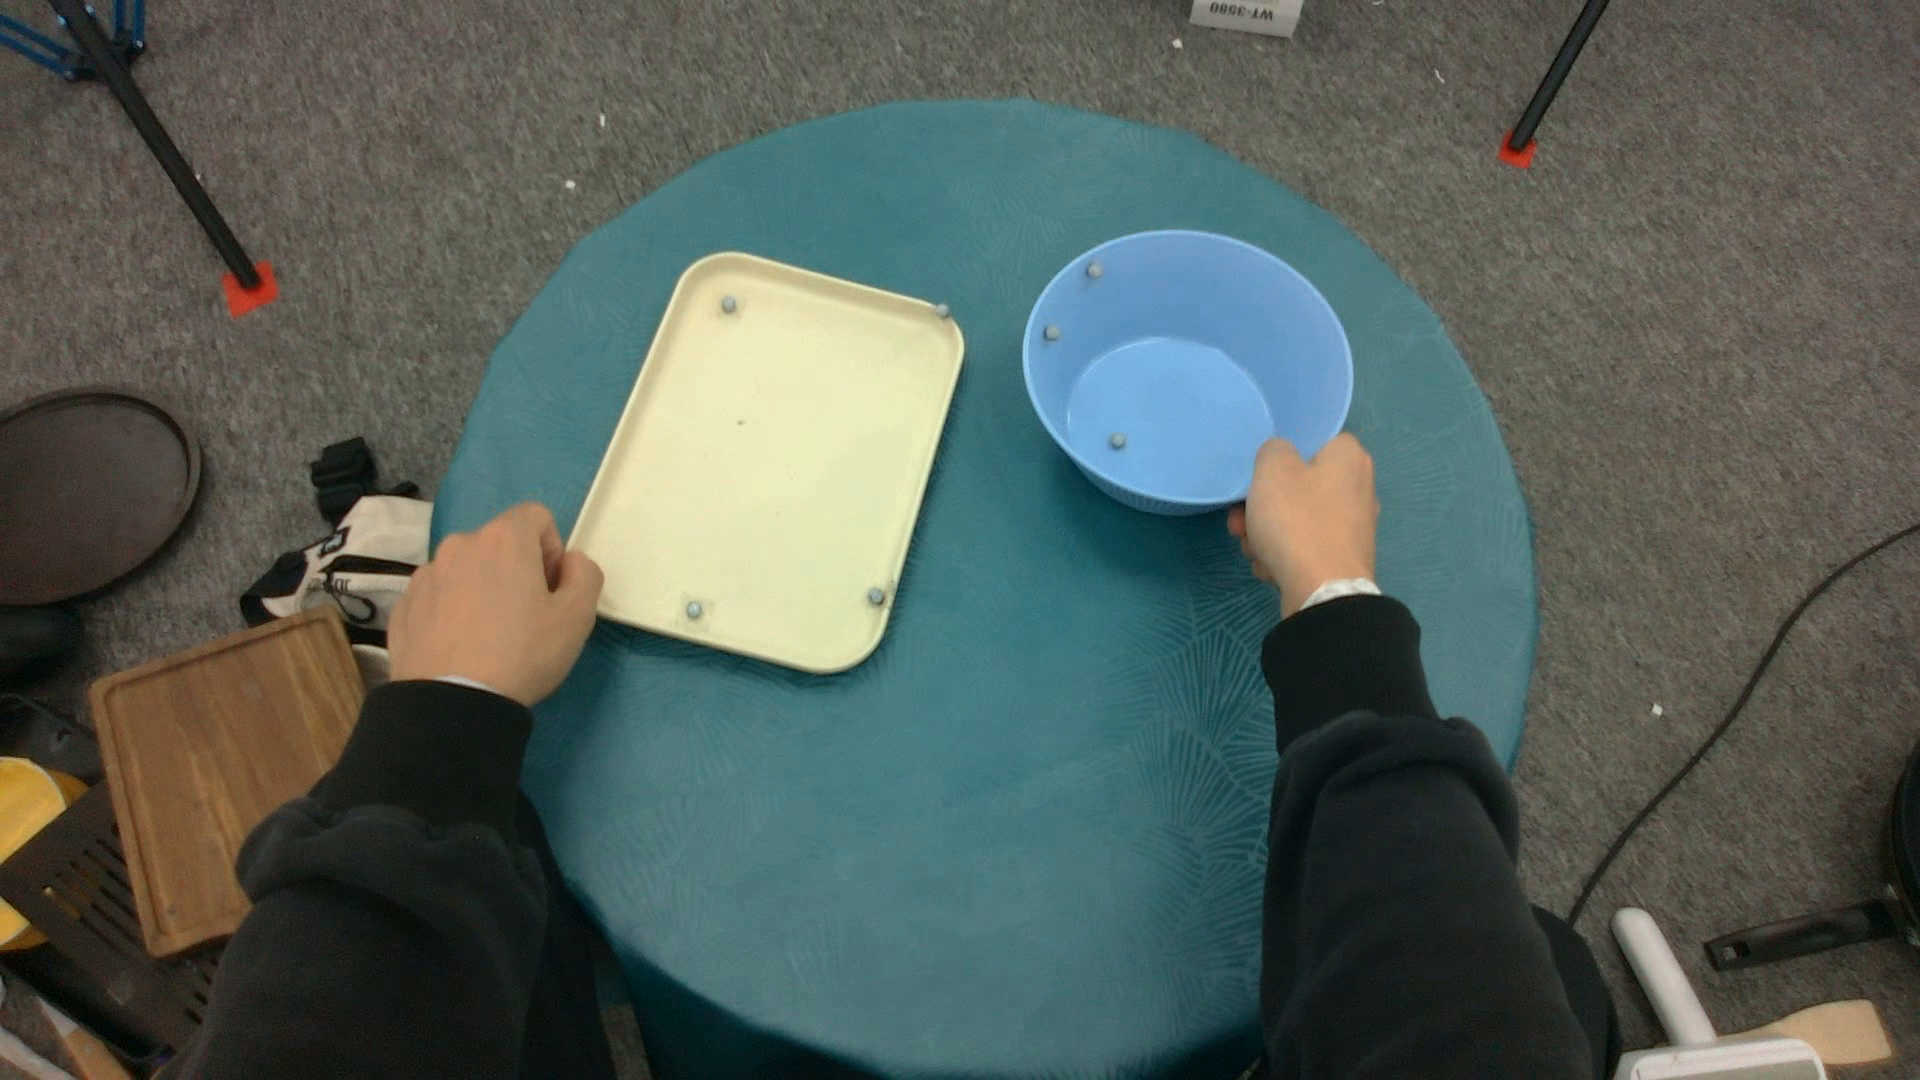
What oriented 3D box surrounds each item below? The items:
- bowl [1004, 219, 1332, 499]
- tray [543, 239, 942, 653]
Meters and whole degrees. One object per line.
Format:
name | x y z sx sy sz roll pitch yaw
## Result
bowl | 0.109 -0.089 0.760 0.176 0.070 0.177 1 61 -2
tray | -0.112 -0.057 0.753 0.171 0.017 0.240 14 62 1
